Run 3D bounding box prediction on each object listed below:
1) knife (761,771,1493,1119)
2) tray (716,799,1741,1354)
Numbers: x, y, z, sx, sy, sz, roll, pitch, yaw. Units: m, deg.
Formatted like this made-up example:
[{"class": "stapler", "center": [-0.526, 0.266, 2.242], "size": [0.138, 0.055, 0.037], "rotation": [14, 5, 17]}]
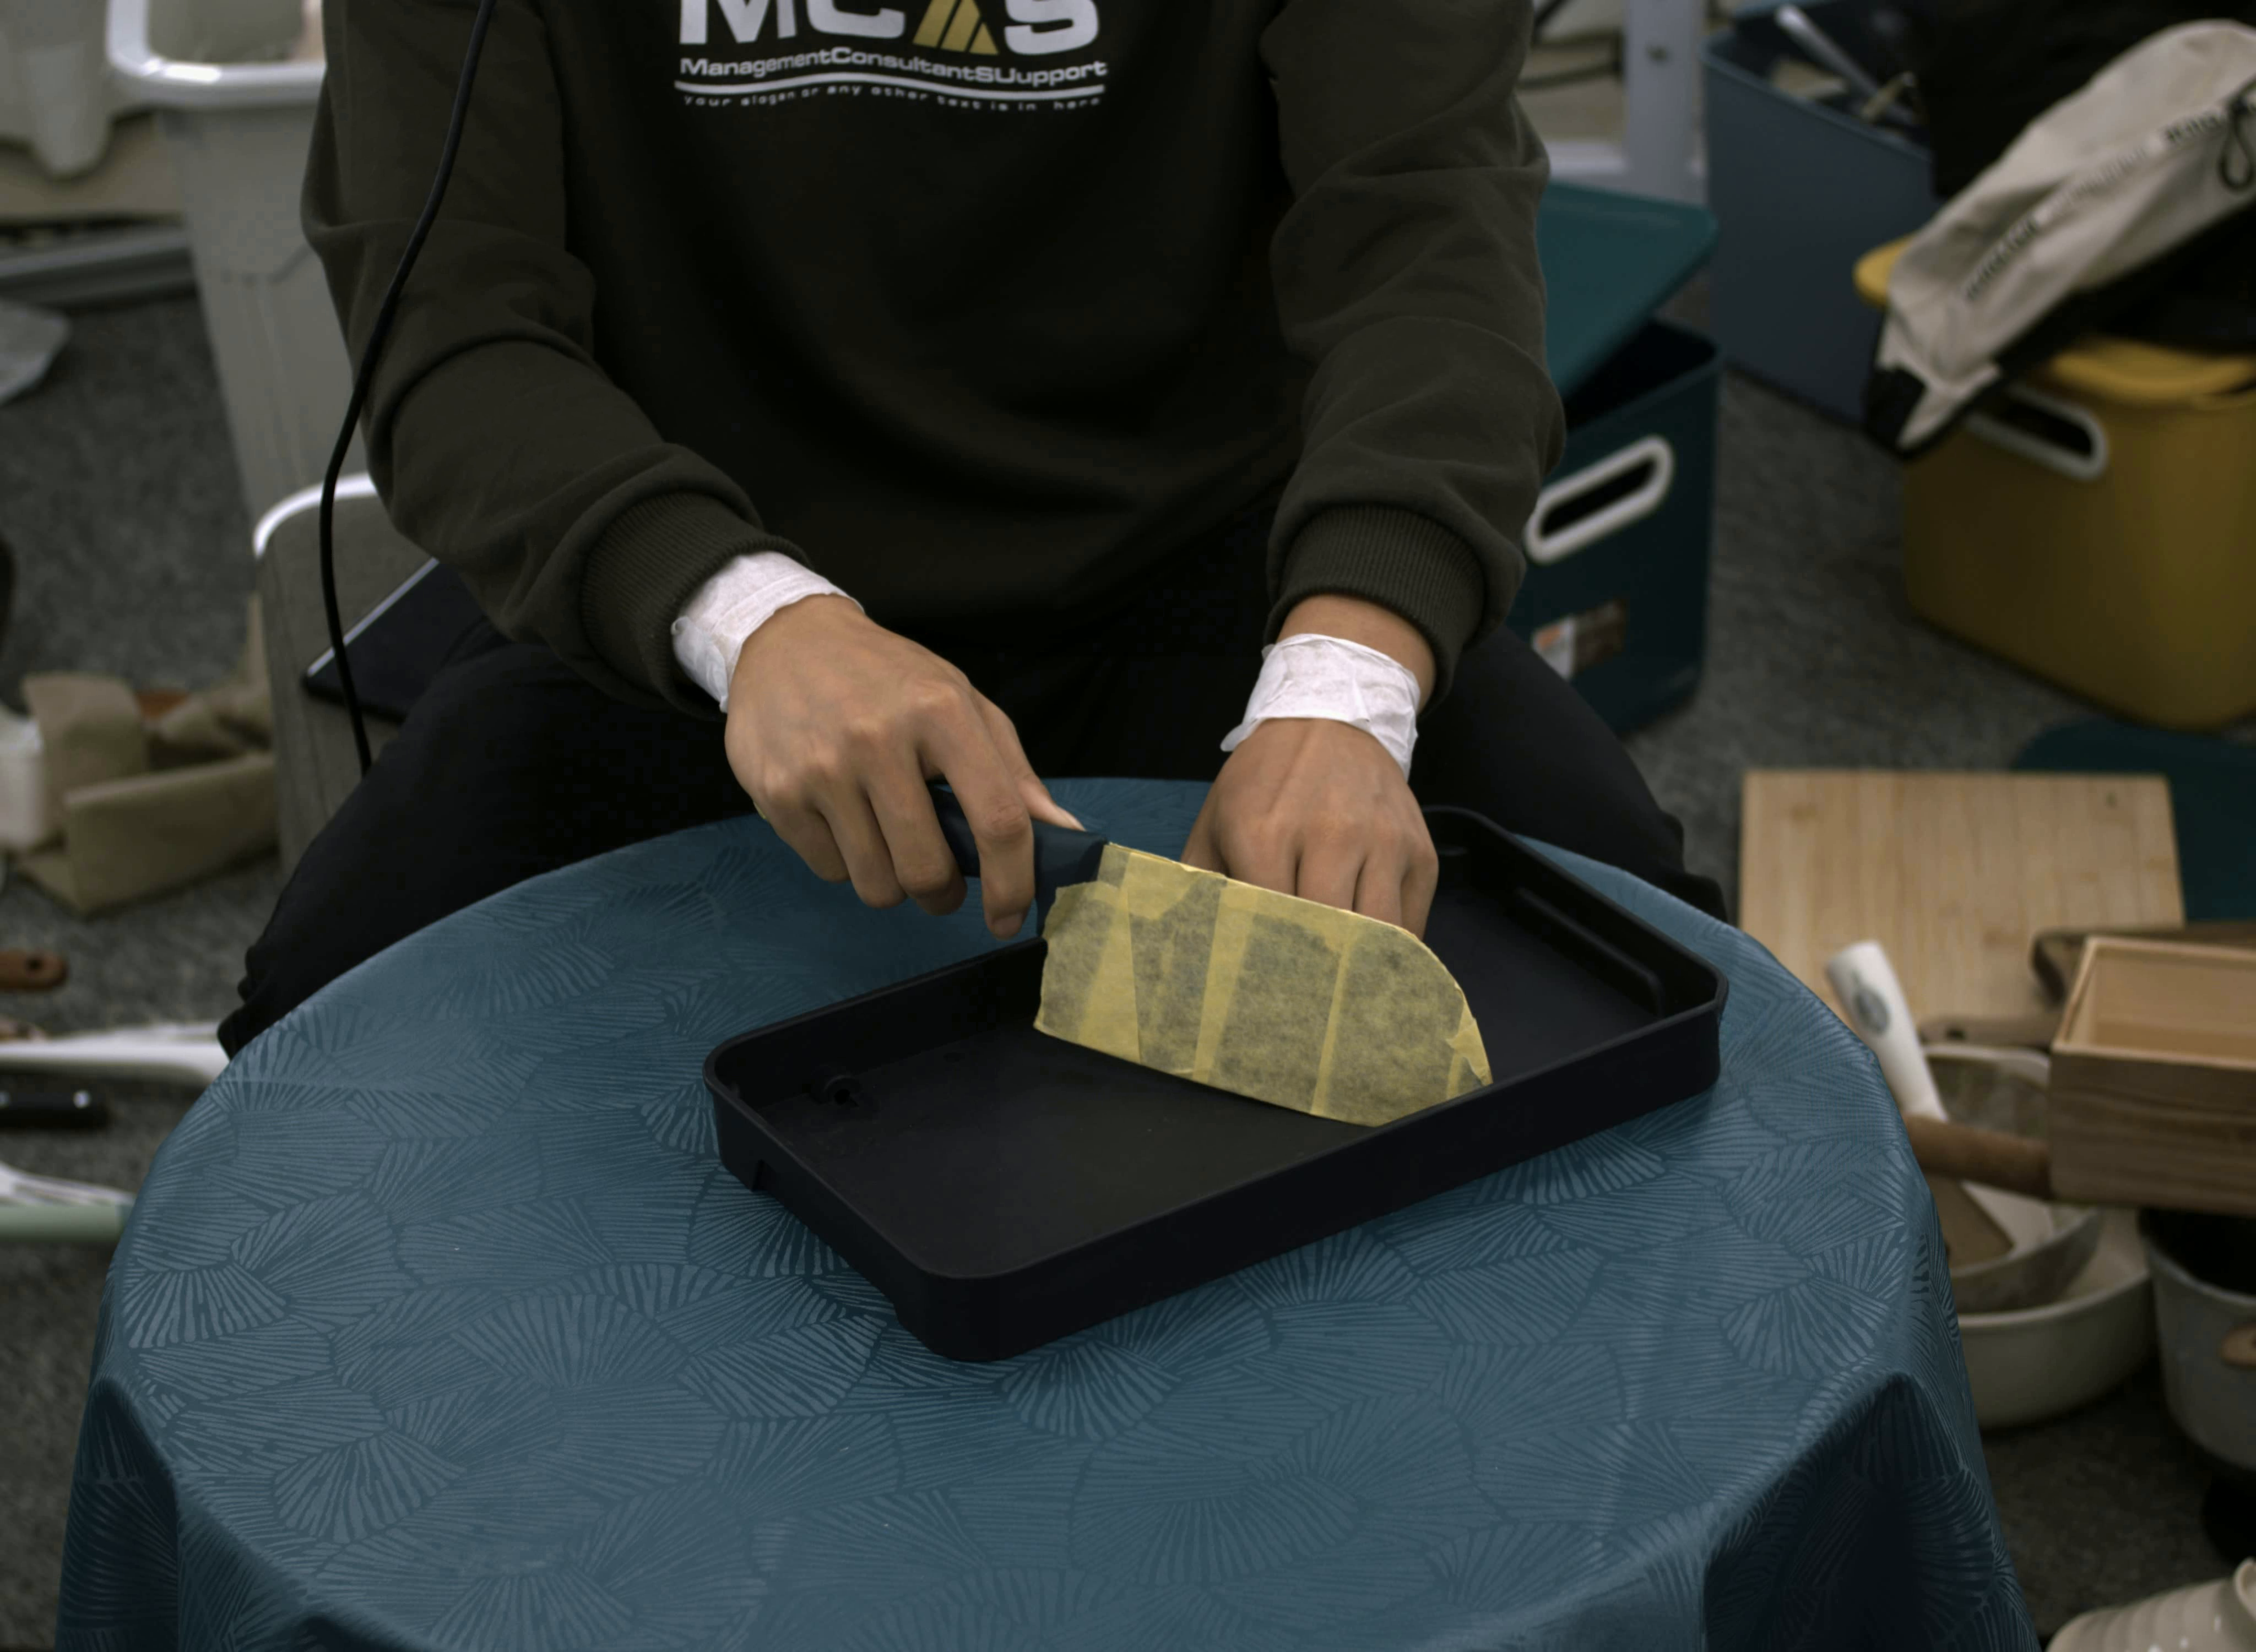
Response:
[{"class": "knife", "center": [-0.004, 0.040, 1.918], "size": [0.288, 0.081, 0.027], "rotation": [19, 11, 24]}, {"class": "tray", "center": [0.035, 0.079, 1.901], "size": [0.320, 0.036, 0.185], "rotation": [-19, 31, -29]}]
